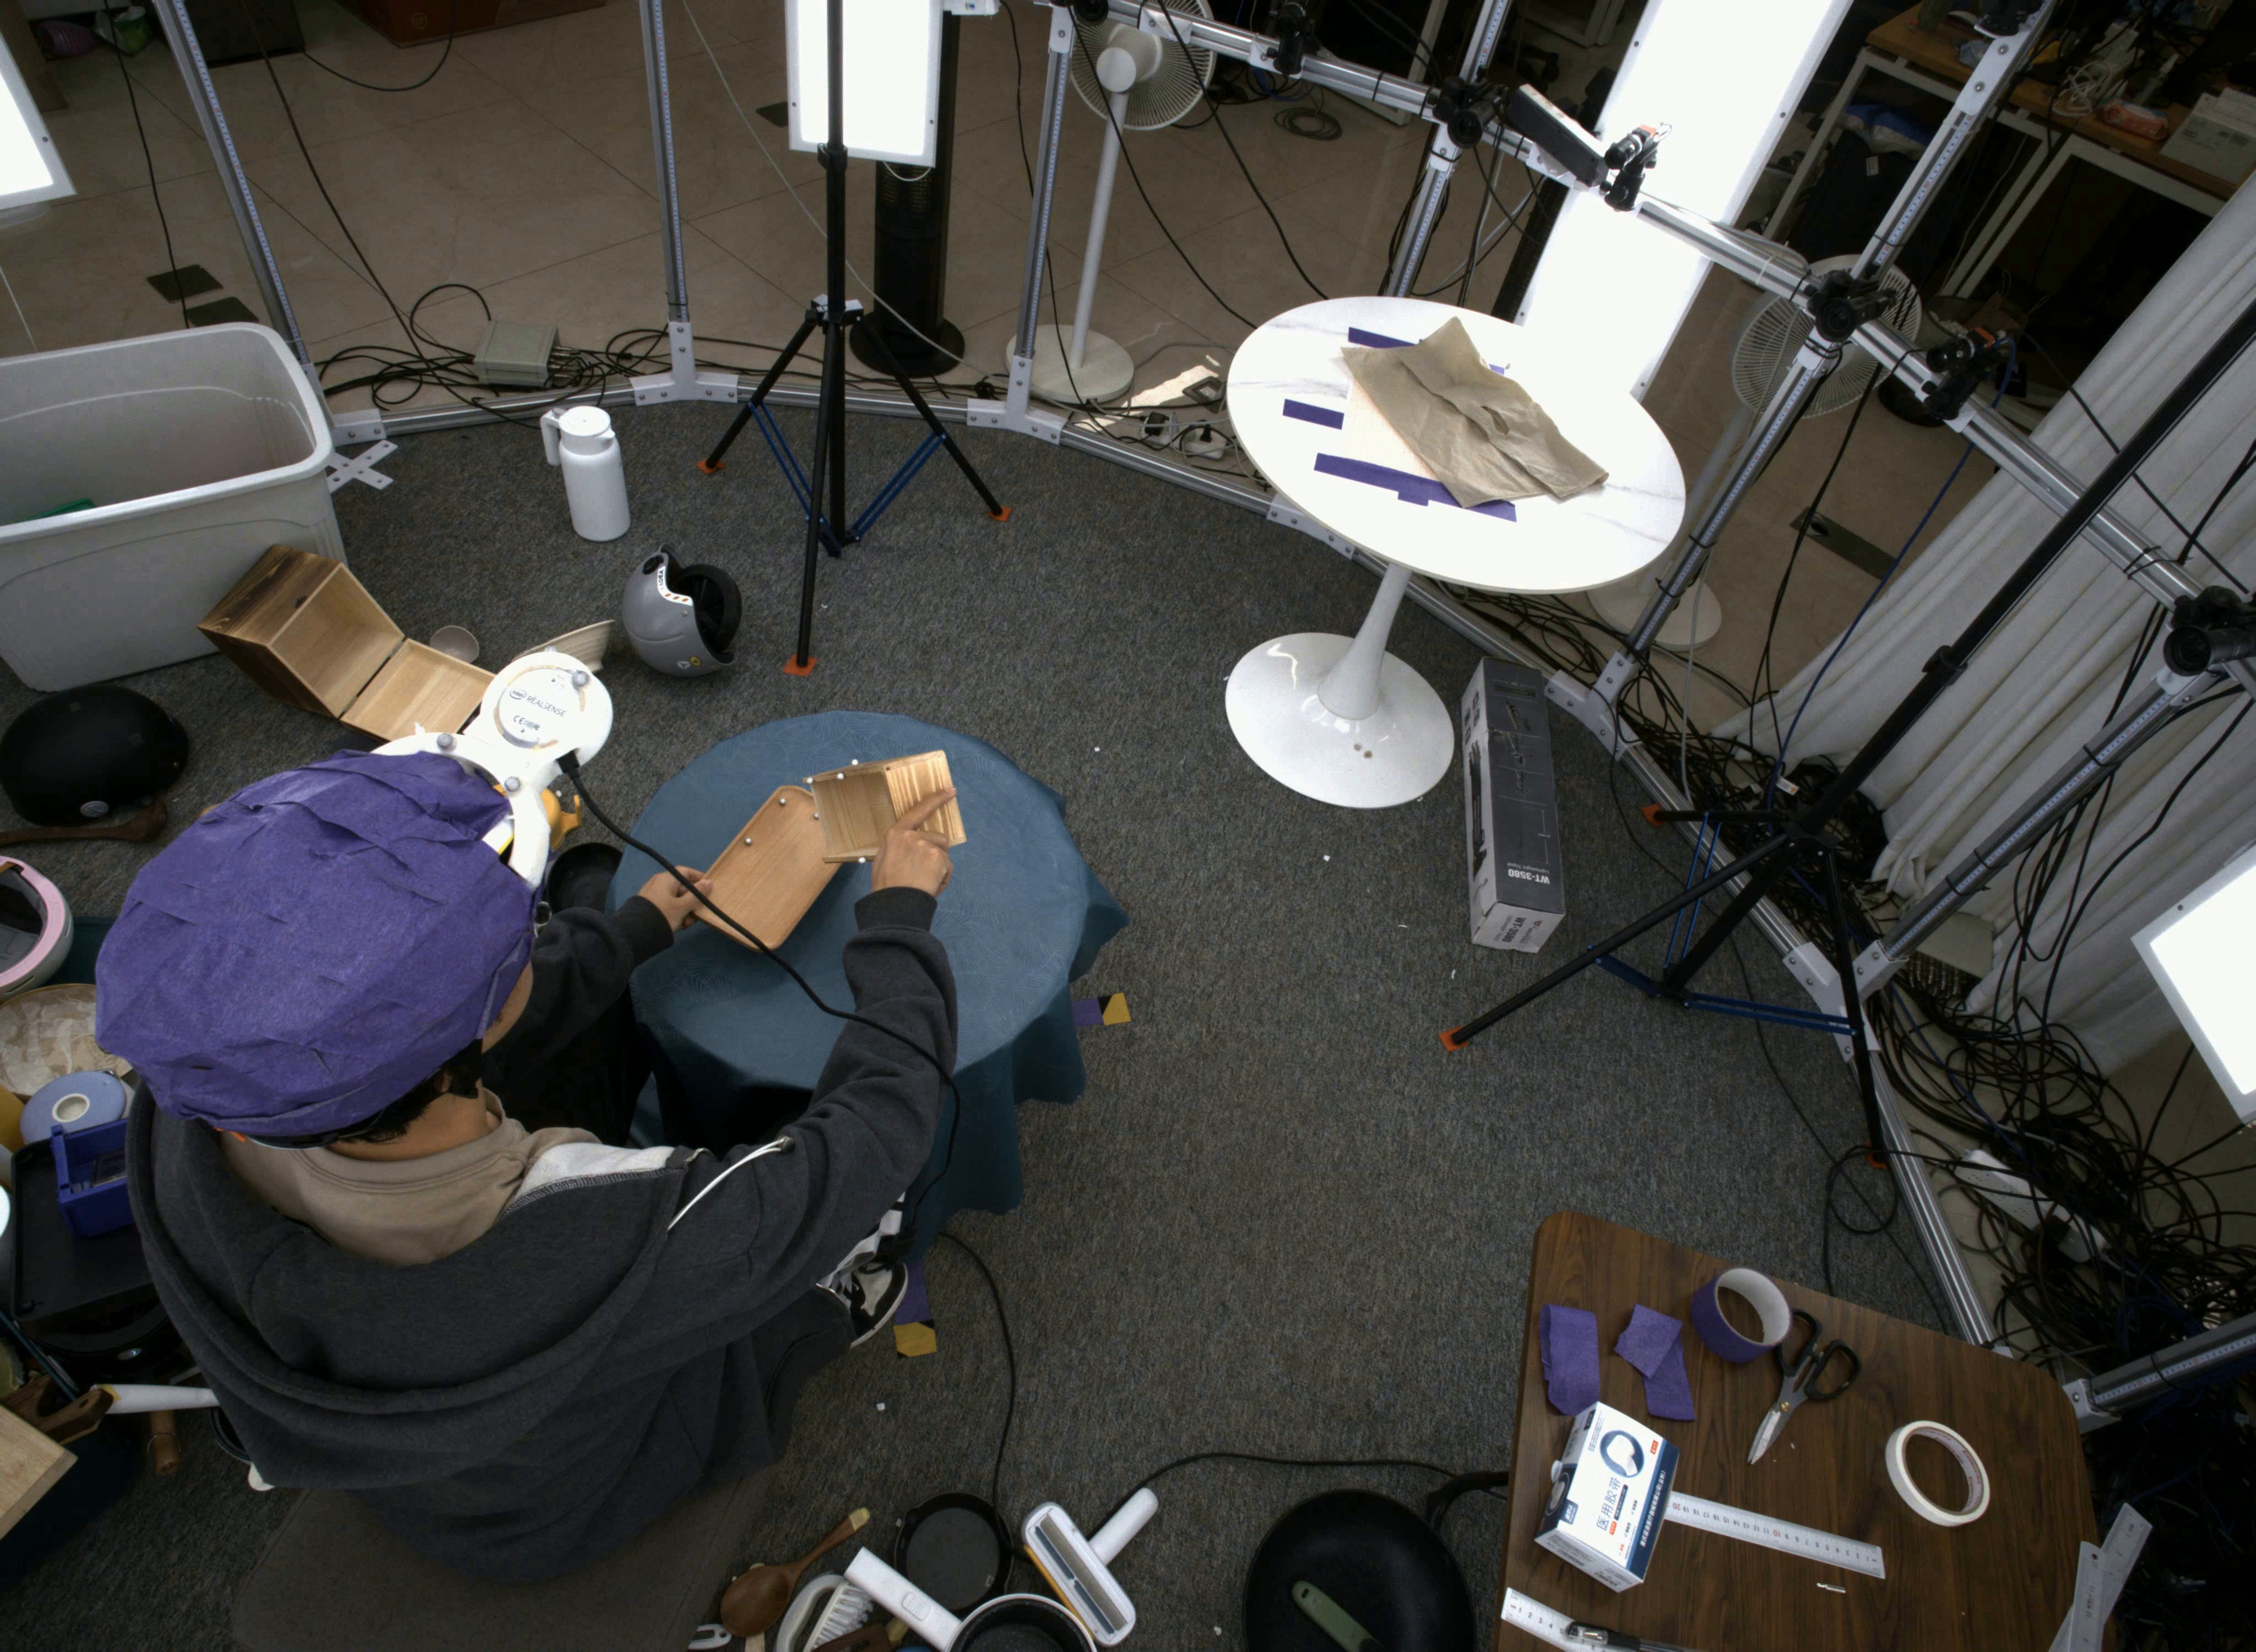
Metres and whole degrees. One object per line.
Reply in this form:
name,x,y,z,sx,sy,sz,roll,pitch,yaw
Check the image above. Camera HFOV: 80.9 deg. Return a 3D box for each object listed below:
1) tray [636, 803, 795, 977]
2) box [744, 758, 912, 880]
tray,-0.495,0.073,1.586,0.130,0.023,0.248,26,45,-3
box,-0.341,-0.006,1.460,0.081,0.205,0.110,-22,101,-39
